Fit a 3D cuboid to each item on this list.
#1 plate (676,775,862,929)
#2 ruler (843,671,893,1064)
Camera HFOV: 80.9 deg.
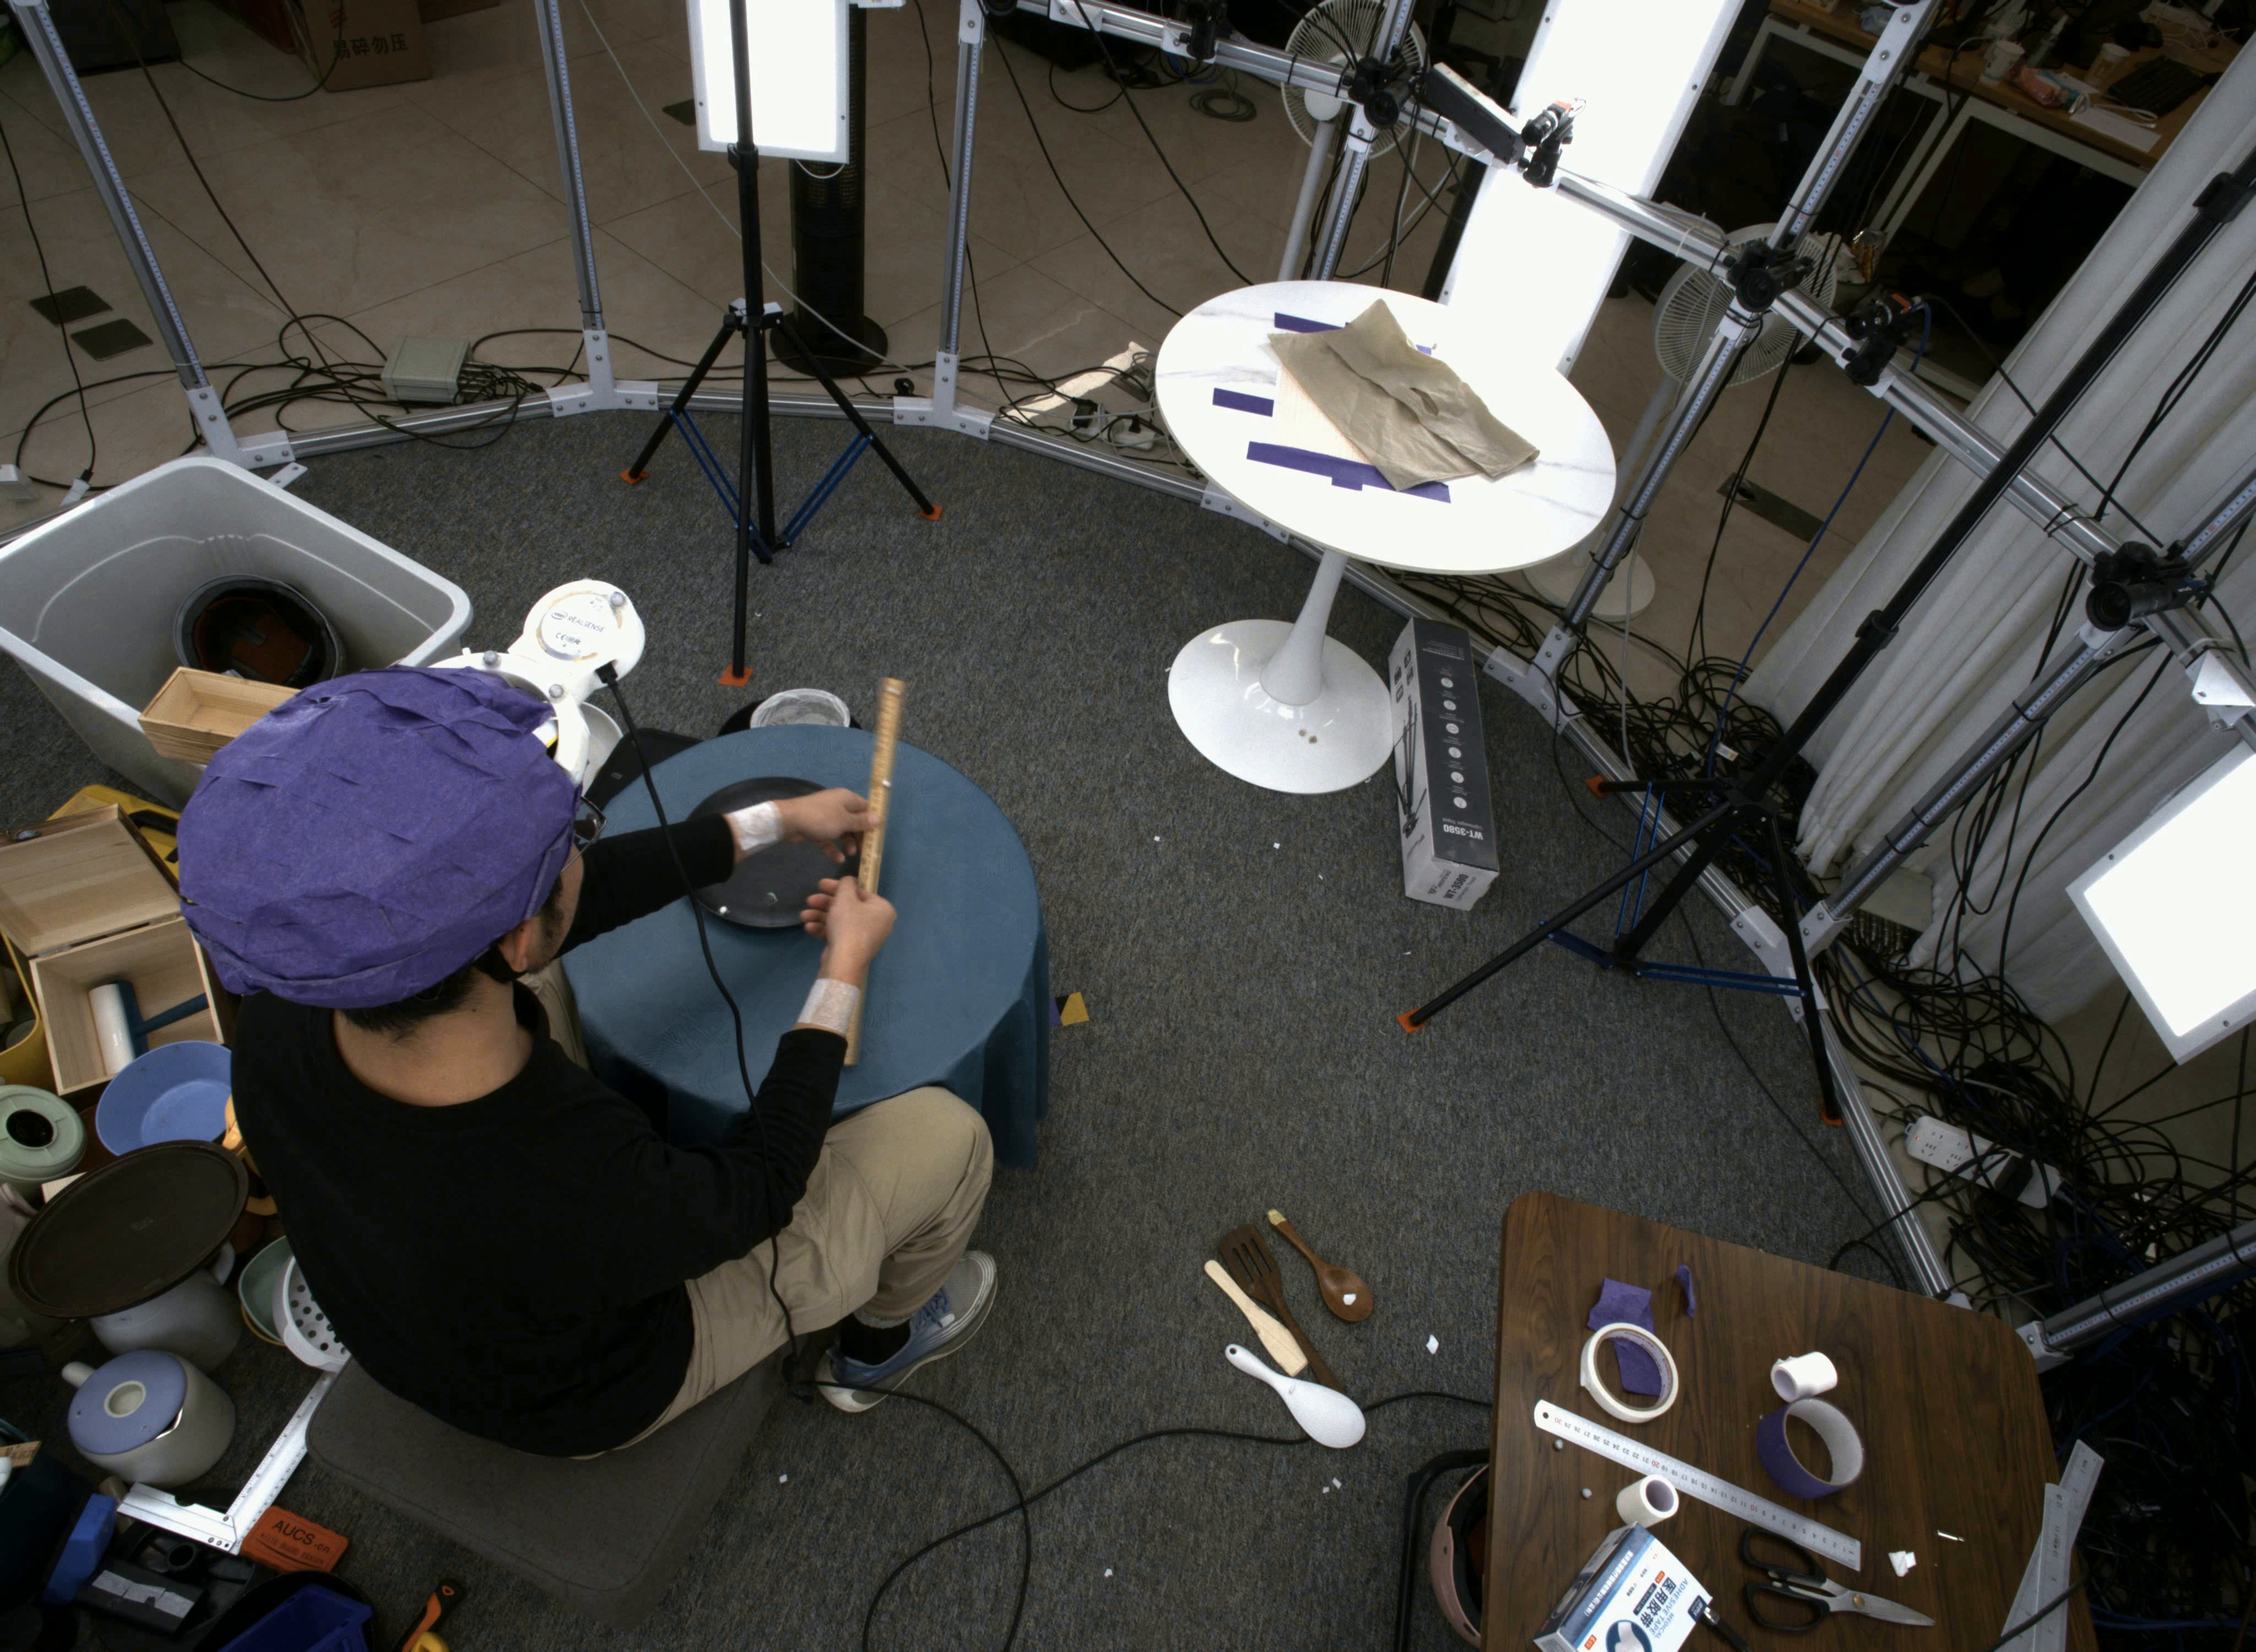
[{"bbox_3d":[-0.457,0.034,1.669,0.244,0.024,0.240,8,53,-9],"label":"plate"},{"bbox_3d":[-0.318,0.038,1.591,0.027,0.006,0.498,6,71,-16],"label":"ruler"}]
